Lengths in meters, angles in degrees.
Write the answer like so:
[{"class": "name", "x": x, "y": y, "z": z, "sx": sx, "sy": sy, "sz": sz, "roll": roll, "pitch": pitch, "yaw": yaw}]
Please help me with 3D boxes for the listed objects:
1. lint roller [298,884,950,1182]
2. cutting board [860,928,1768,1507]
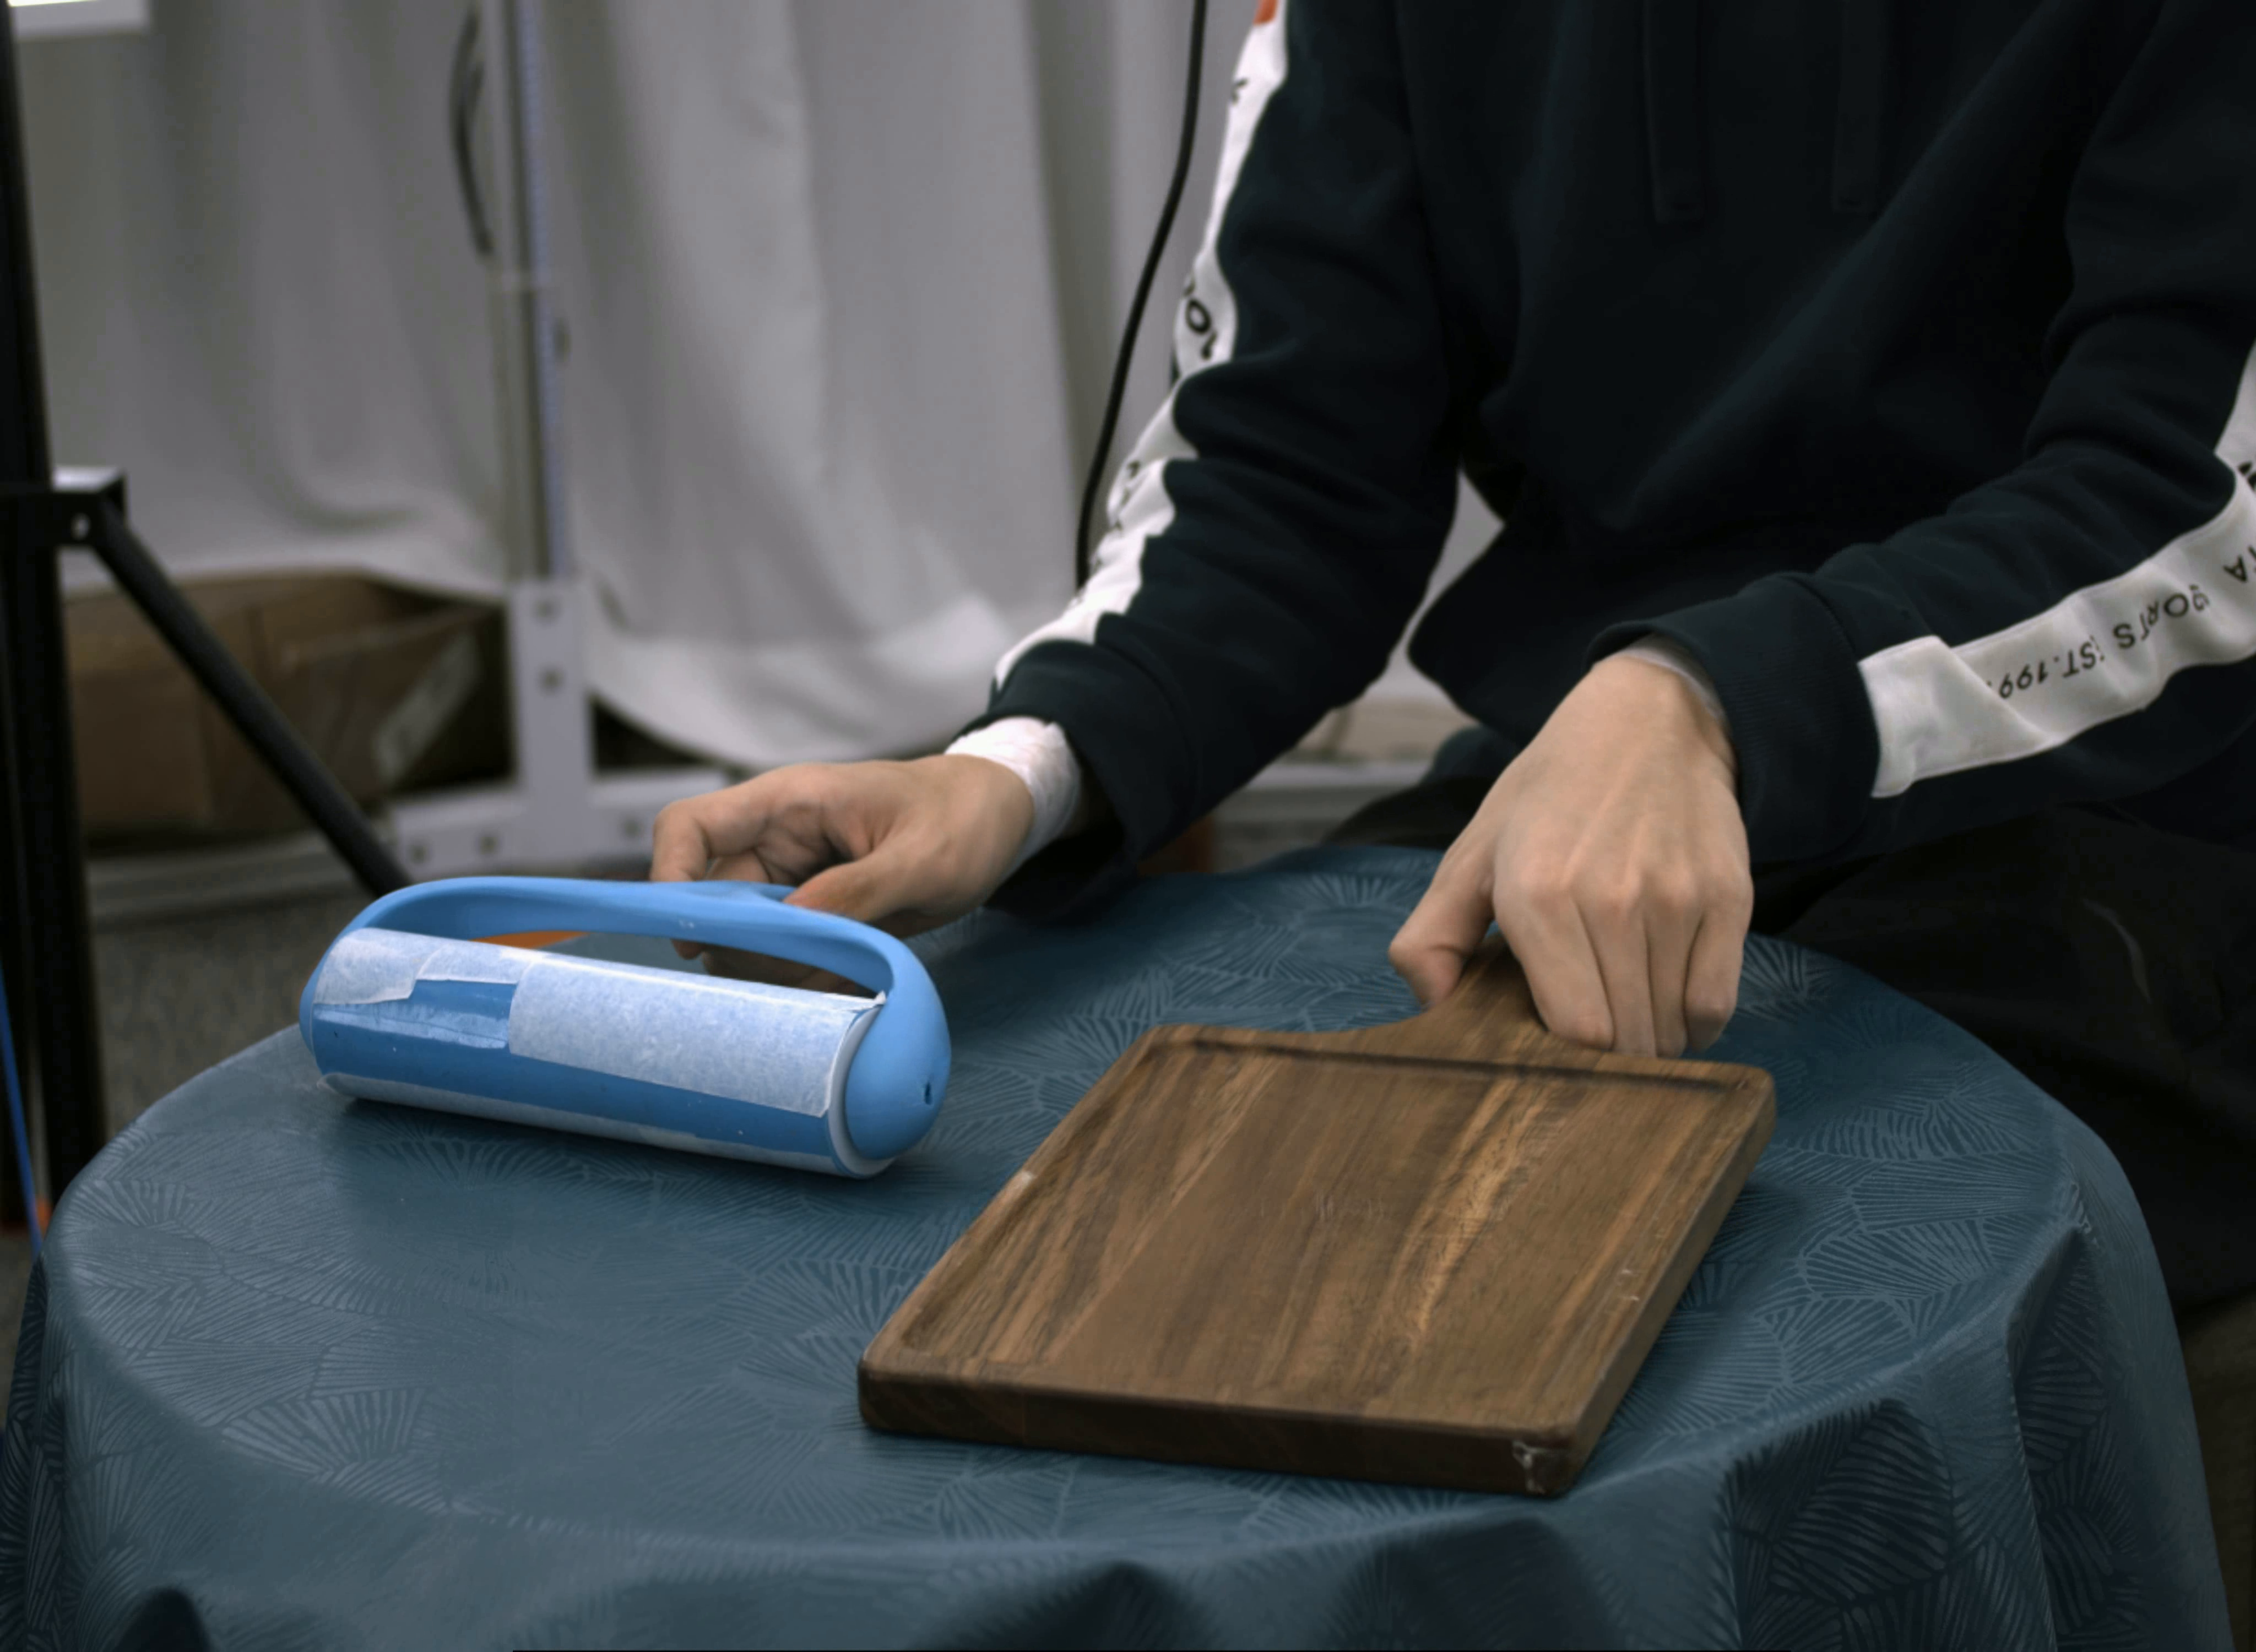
[{"class": "lint roller", "x": -0.130, "y": 0.051, "z": 1.673, "sx": 0.233, "sy": 0.068, "sz": 0.177, "roll": 4, "pitch": 19, "yaw": 28}, {"class": "cutting board", "x": 0.073, "y": 0.099, "z": 1.502, "sx": 0.203, "sy": 0.023, "sz": 0.349, "roll": 3, "pitch": 20, "yaw": 18}]
